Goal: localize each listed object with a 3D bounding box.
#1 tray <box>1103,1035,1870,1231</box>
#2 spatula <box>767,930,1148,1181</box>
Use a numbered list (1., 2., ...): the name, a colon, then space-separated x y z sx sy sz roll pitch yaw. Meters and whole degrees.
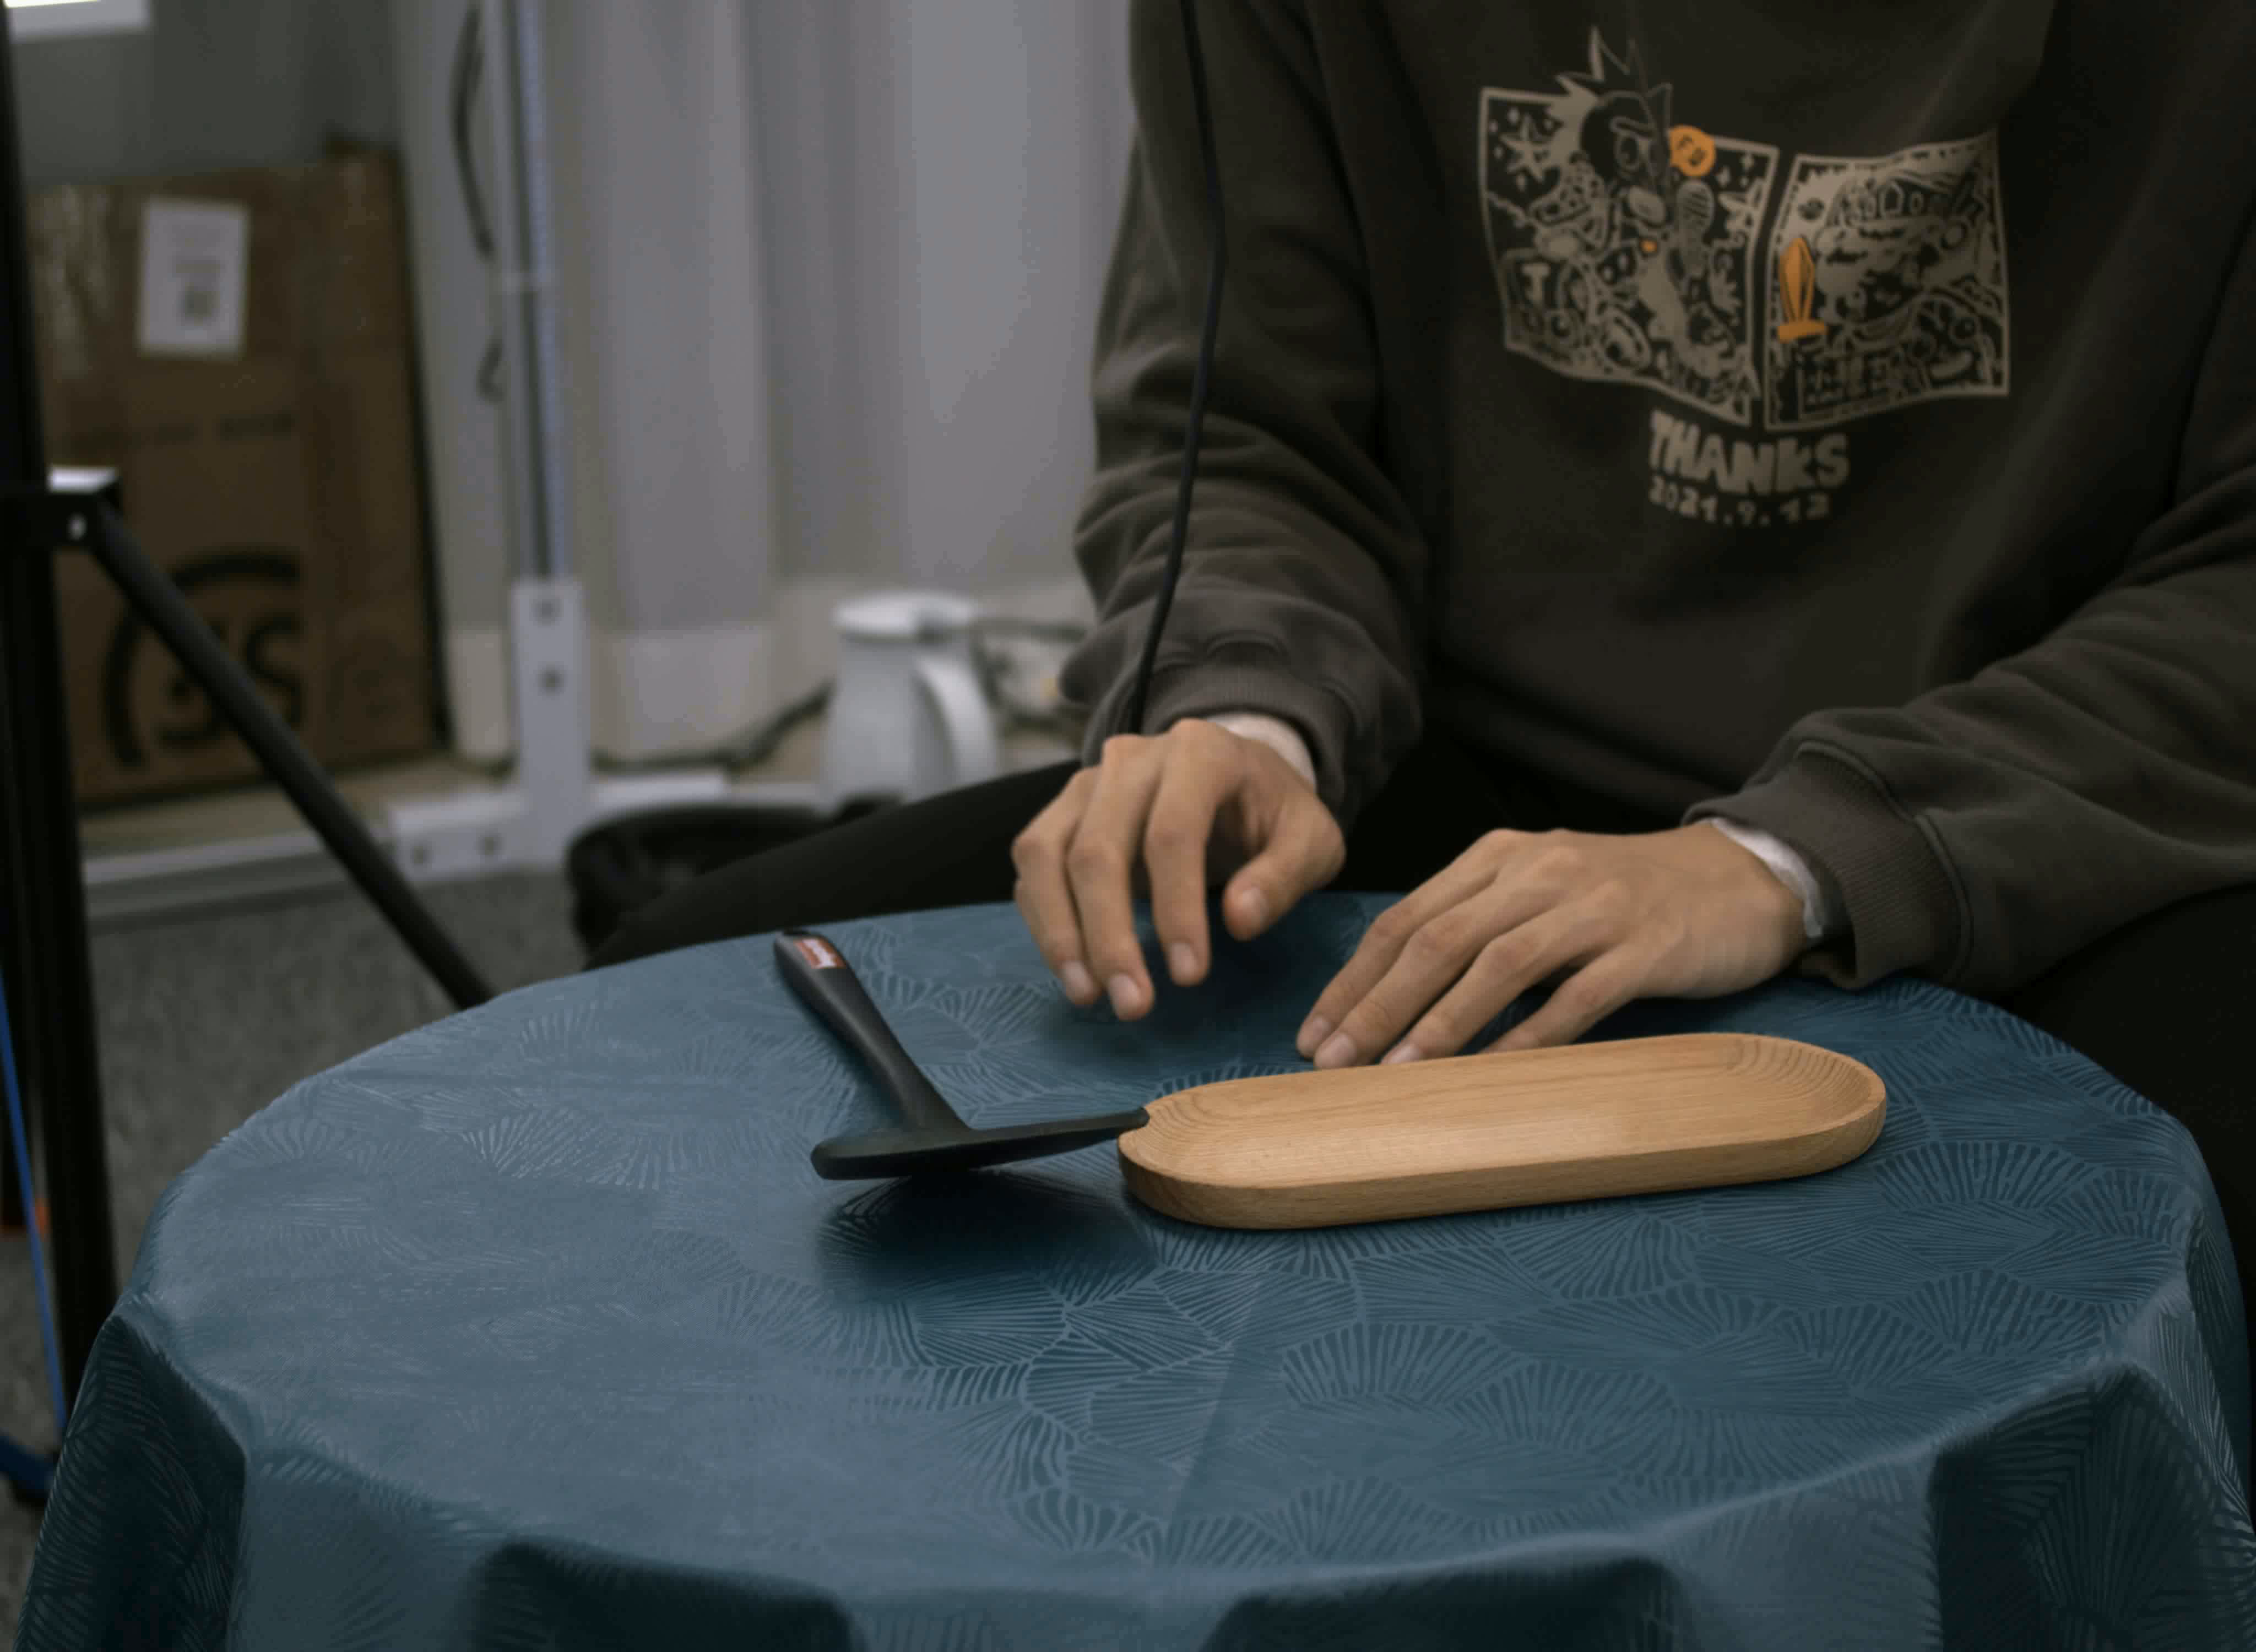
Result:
1. tray: 0.107 0.092 1.573 0.228 0.020 0.103 -6 16 -8
2. spatula: -0.077 0.066 1.658 0.098 0.040 0.330 -5 16 -13
